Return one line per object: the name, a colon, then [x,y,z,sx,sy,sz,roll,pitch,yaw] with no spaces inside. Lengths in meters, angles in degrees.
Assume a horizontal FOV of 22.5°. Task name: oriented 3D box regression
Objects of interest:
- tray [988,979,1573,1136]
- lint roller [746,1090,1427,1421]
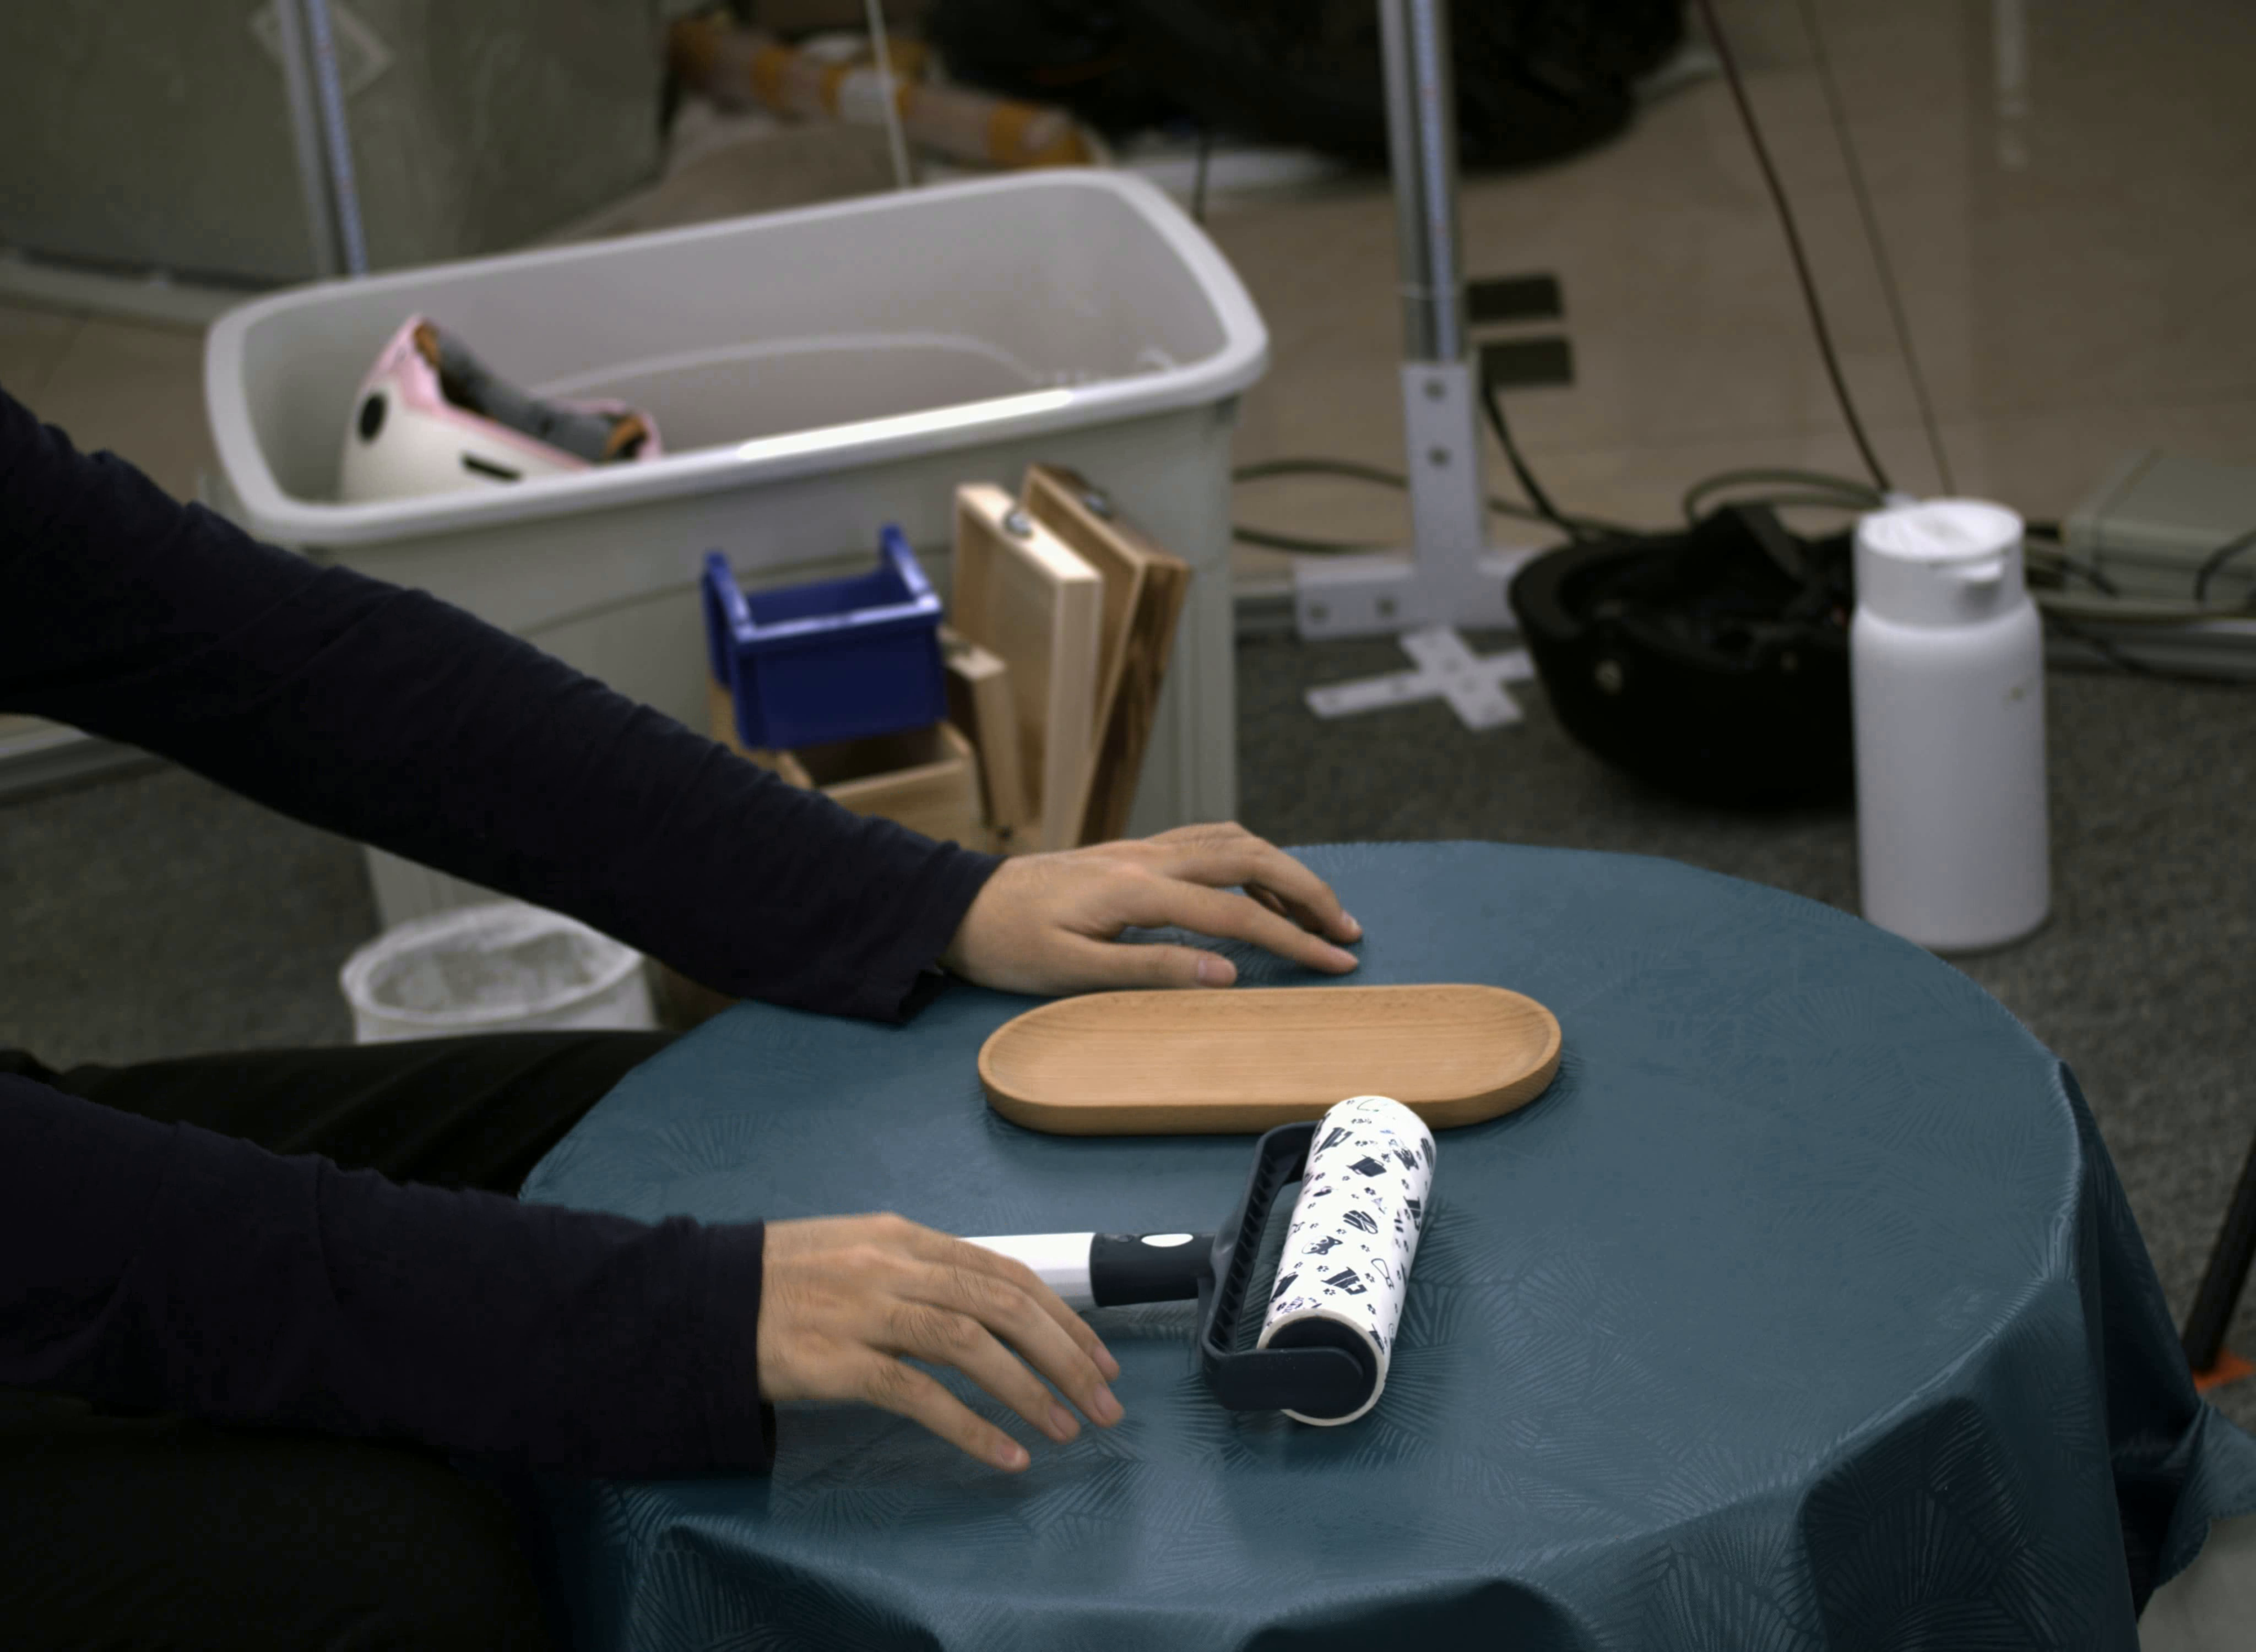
tray: [0.059,0.091,2.221,0.231,0.020,0.100,-1,27,10]
lint roller: [-0.021,0.162,2.060,0.247,0.051,0.173,-5,25,11]
